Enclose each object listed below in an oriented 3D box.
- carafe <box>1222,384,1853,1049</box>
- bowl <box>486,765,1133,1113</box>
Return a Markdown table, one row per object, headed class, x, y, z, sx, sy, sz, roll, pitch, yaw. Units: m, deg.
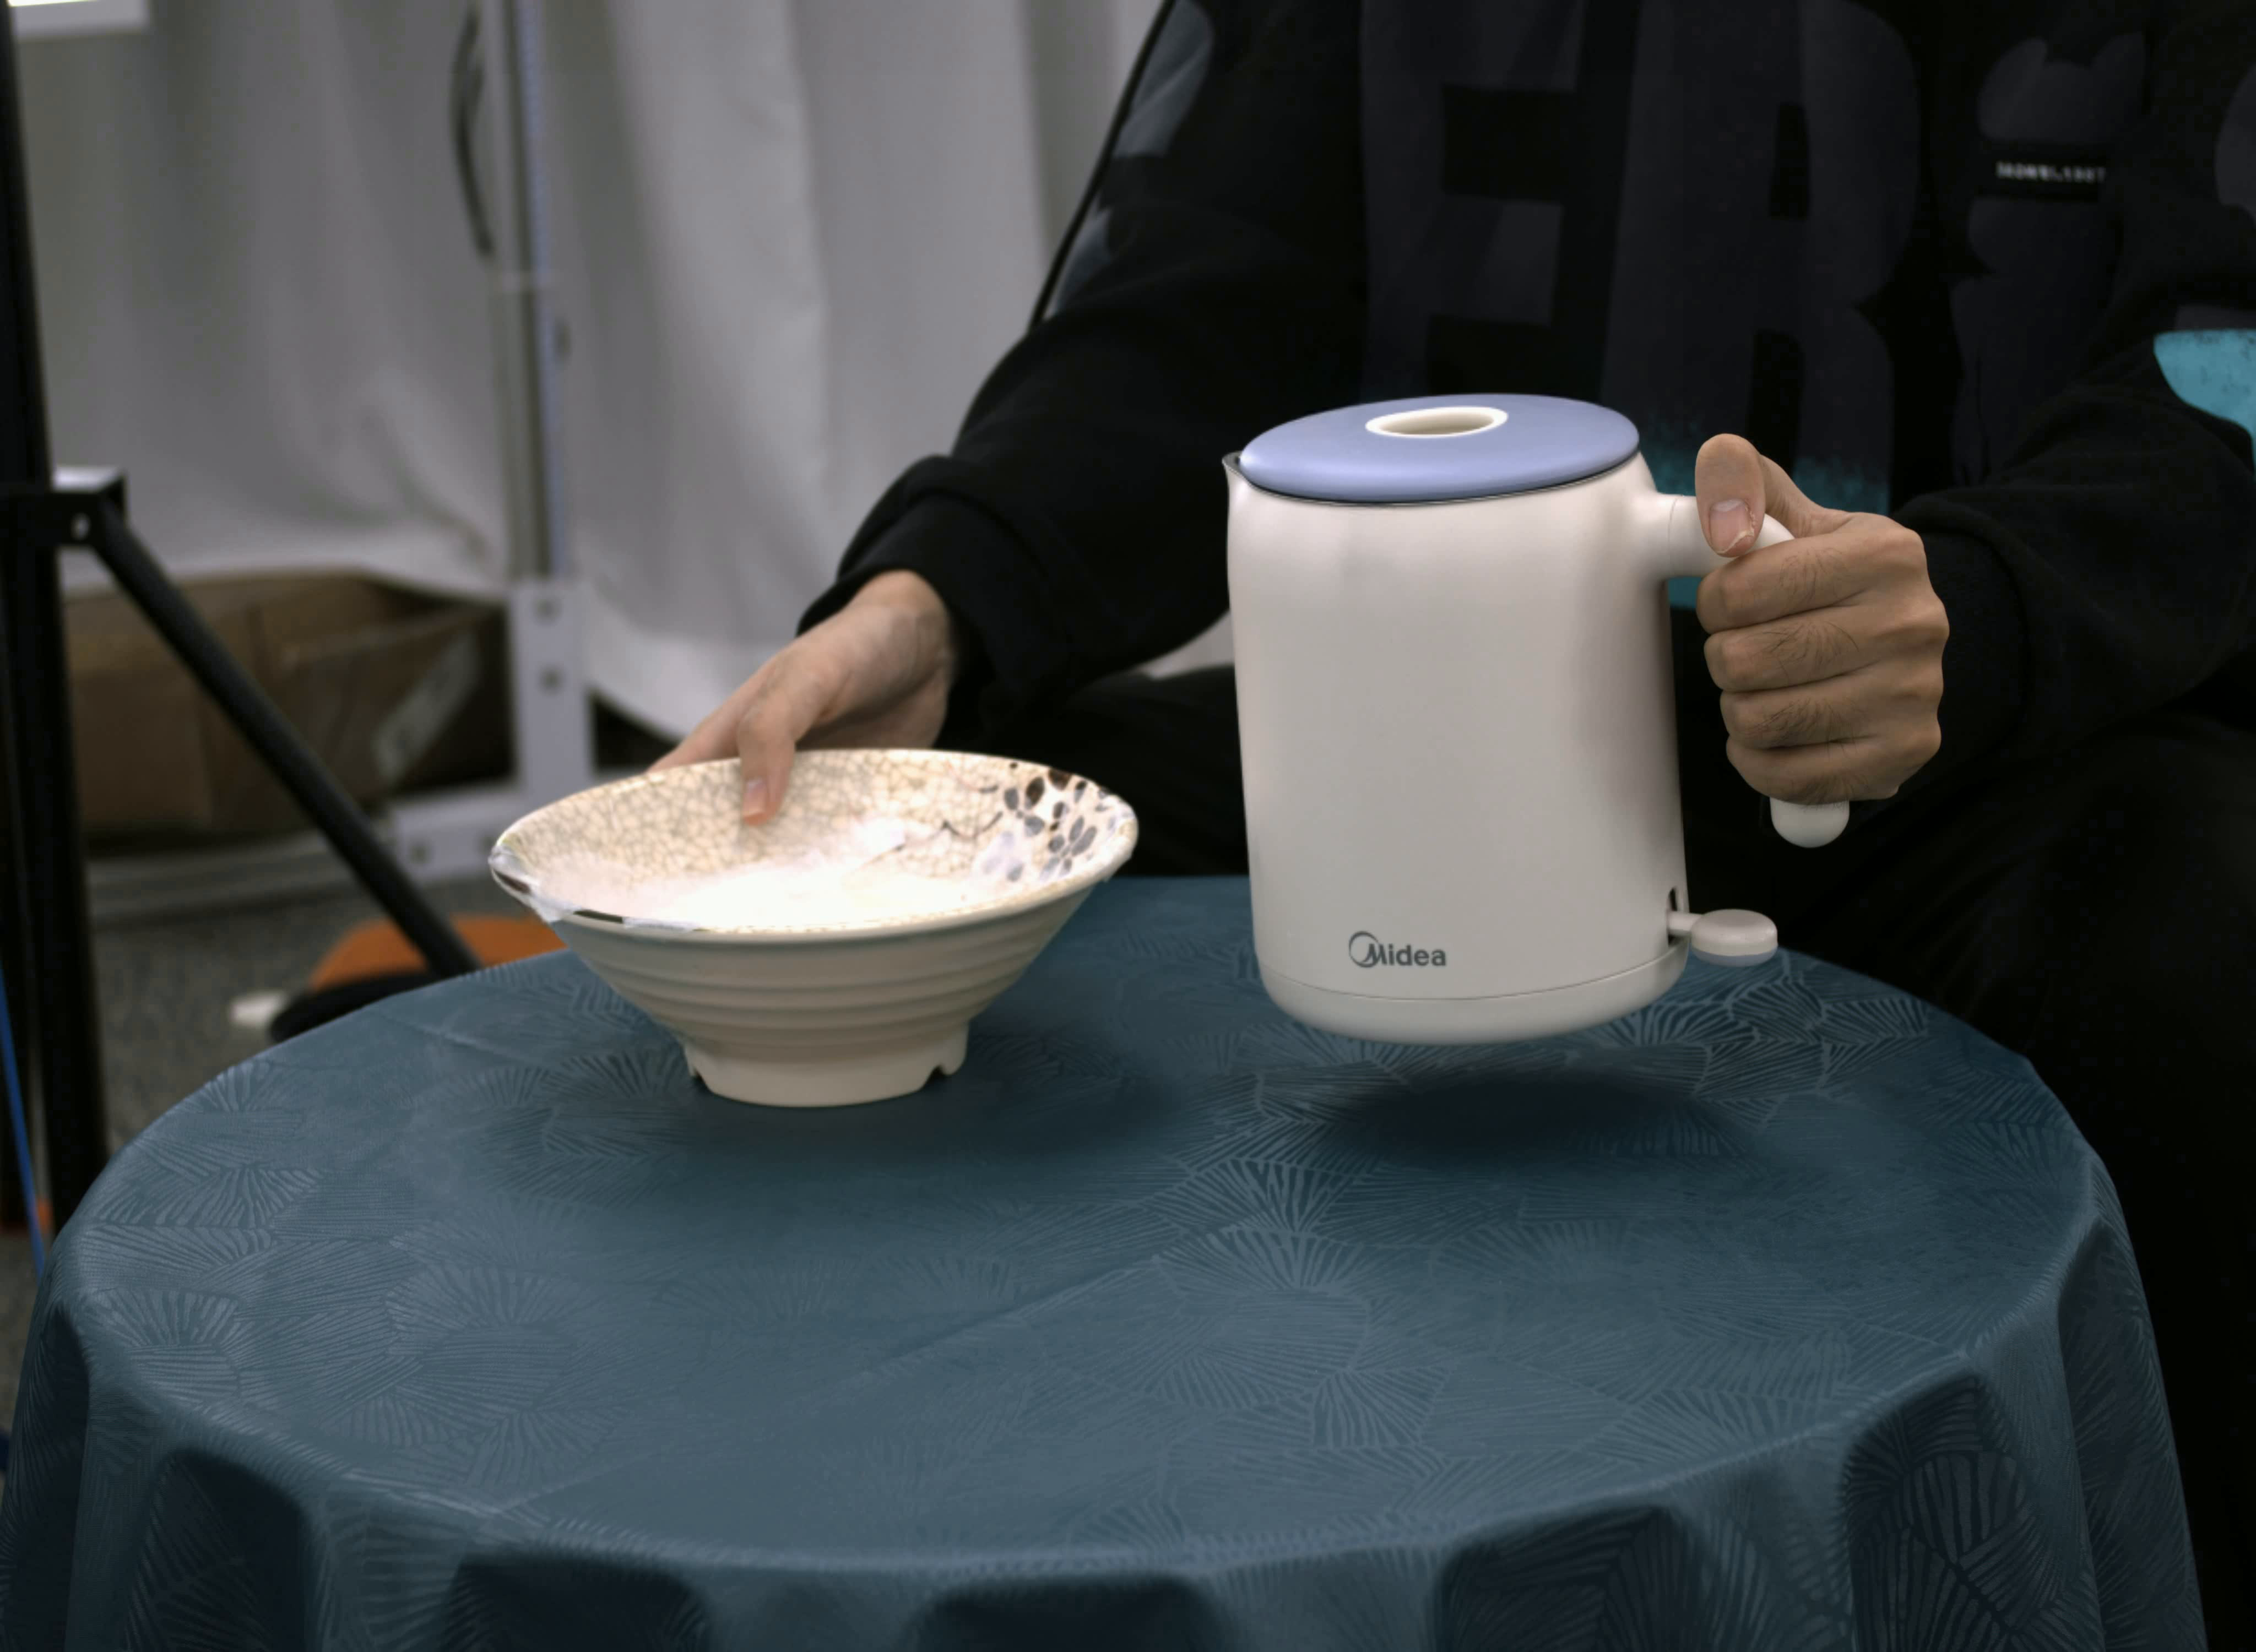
| class | x | y | z | sx | sy | sz | roll | pitch | yaw |
| --- | --- | --- | --- | --- | --- | --- | --- | --- | --- |
| carafe | 0.121 | -0.031 | 1.575 | 0.193 | 0.182 | 0.130 | 4 | 18 | 22 |
| bowl | -0.099 | 0.041 | 1.676 | 0.203 | 0.078 | 0.205 | -1 | 13 | -1 |
